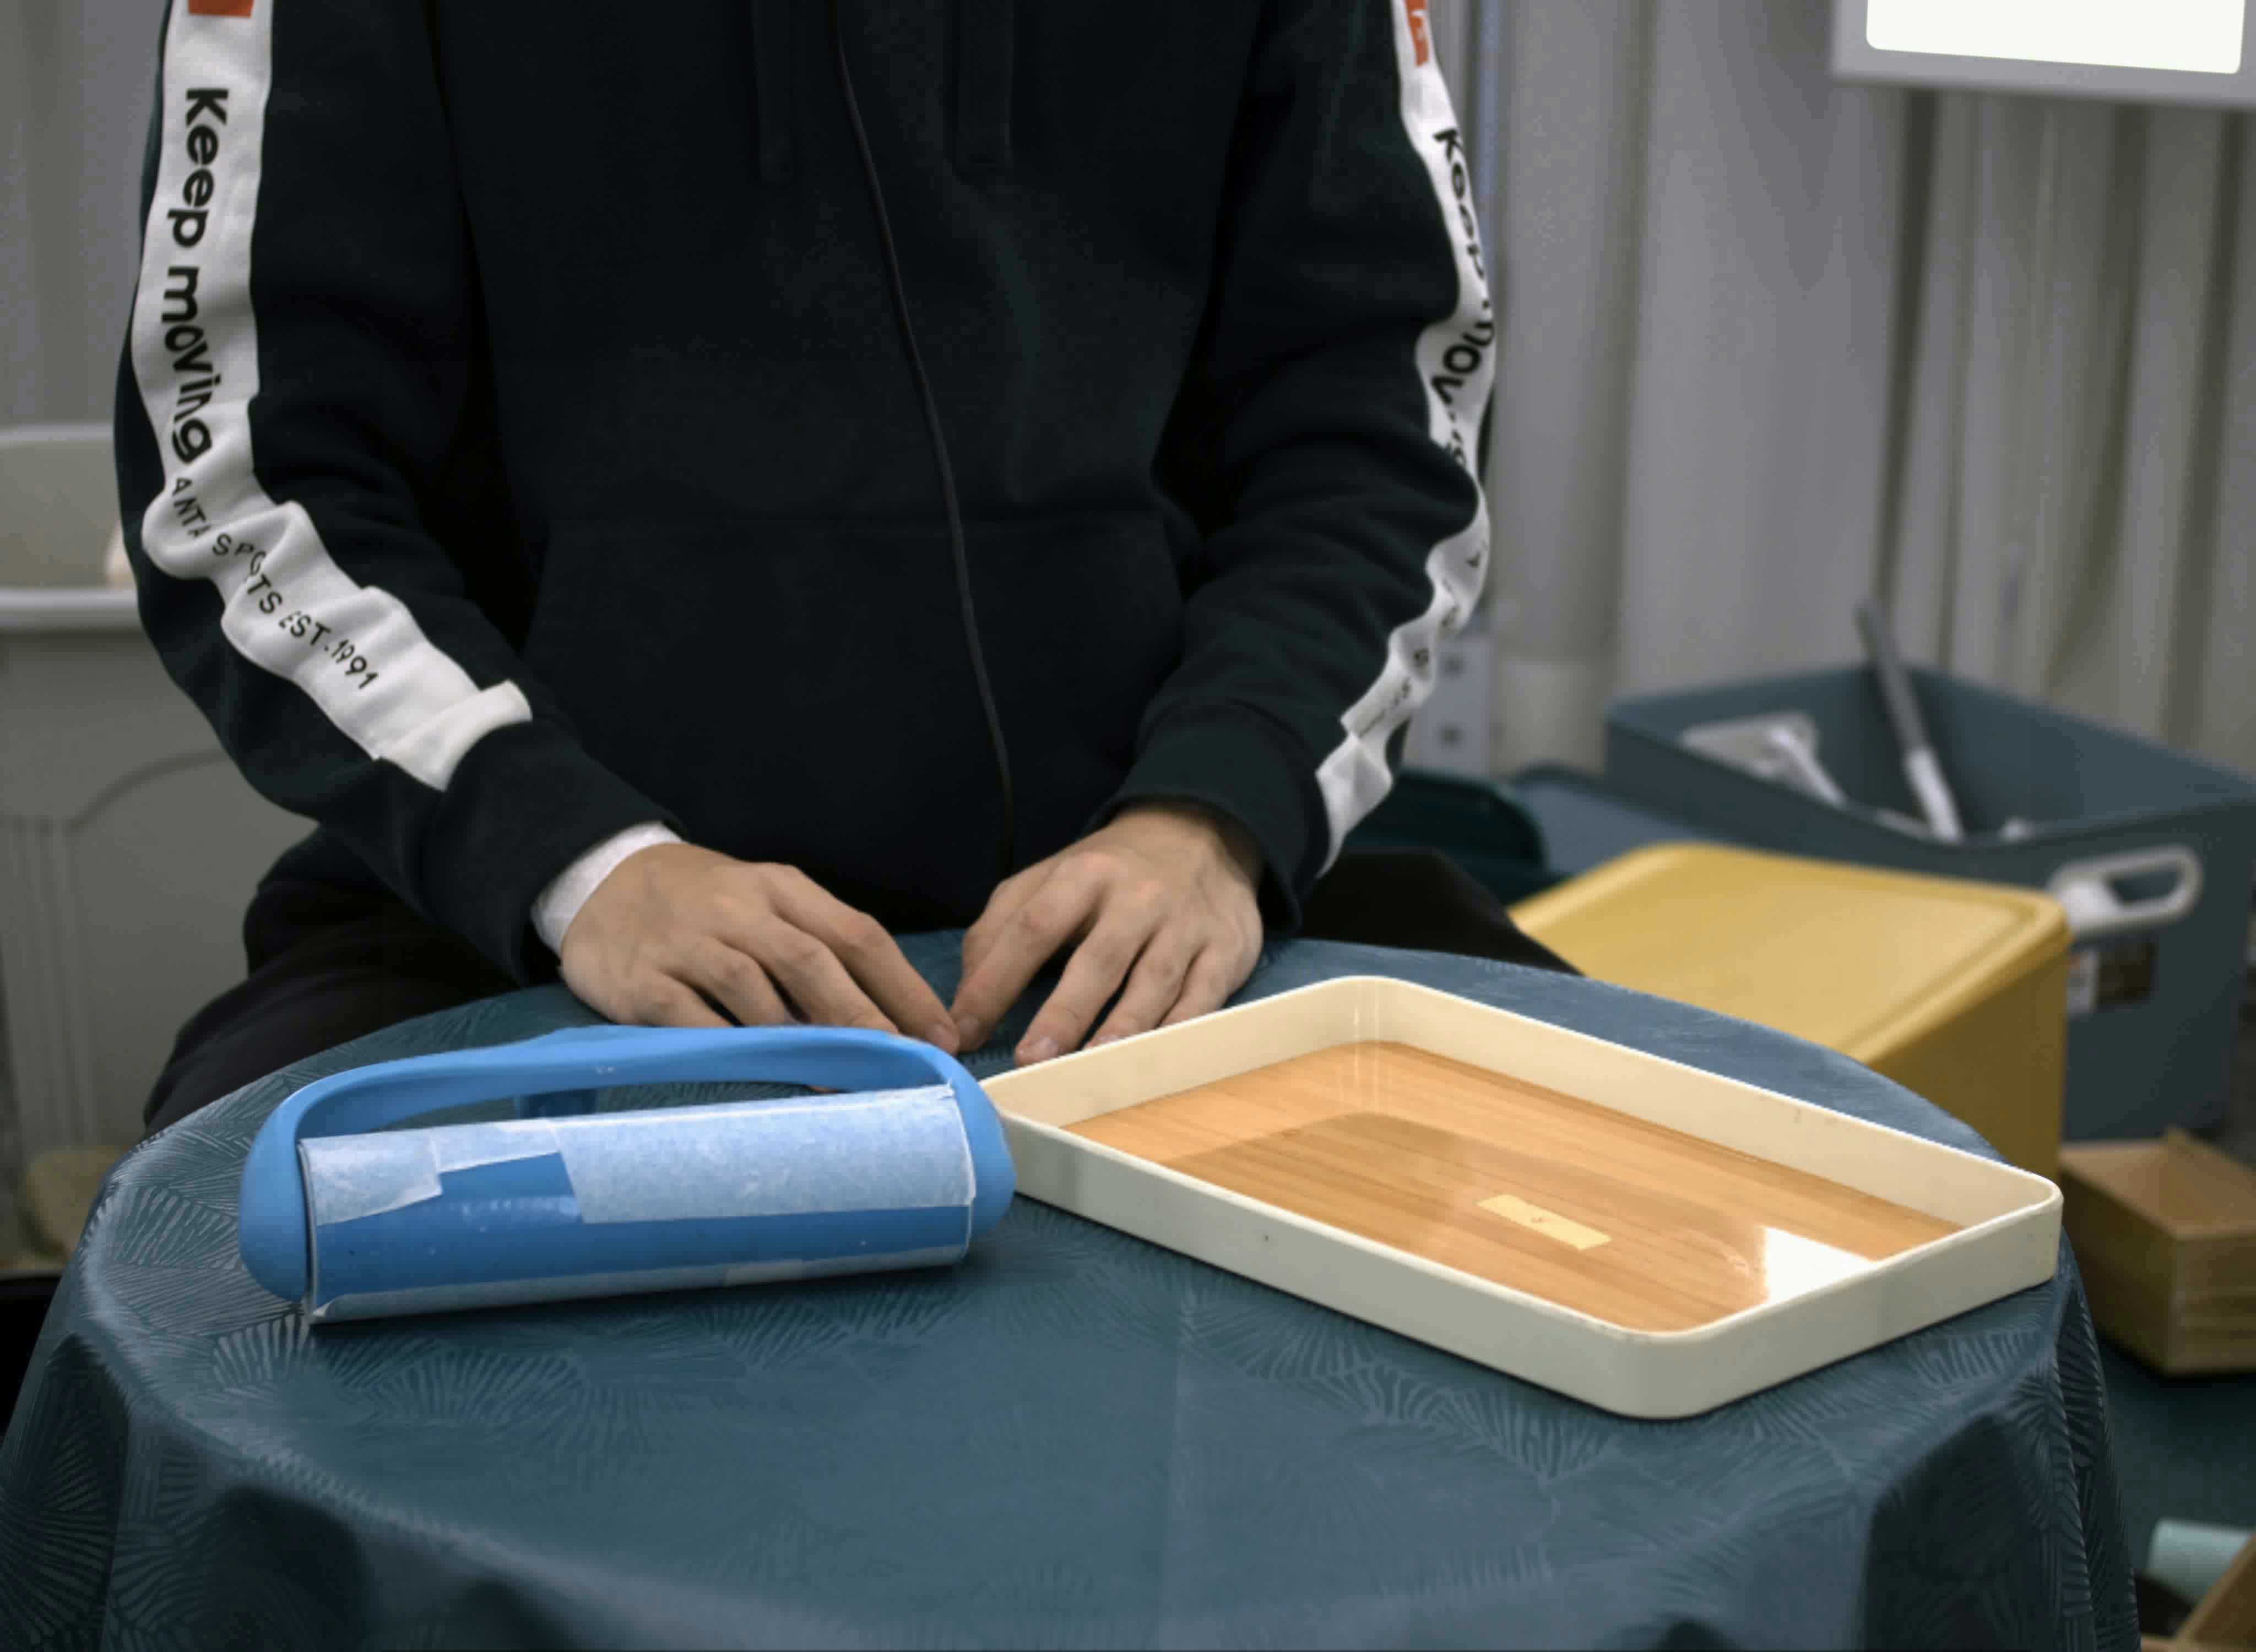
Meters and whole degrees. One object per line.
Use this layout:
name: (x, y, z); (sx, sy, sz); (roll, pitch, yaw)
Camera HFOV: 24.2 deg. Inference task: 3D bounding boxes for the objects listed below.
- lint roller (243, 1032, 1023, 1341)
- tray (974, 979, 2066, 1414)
lint roller: (-0.161, 0.094, 1.575); (0.229, 0.068, 0.178); (-7, 18, -19)
tray: (0.113, 0.107, 1.593); (0.192, 0.027, 0.296); (-14, 21, -41)
